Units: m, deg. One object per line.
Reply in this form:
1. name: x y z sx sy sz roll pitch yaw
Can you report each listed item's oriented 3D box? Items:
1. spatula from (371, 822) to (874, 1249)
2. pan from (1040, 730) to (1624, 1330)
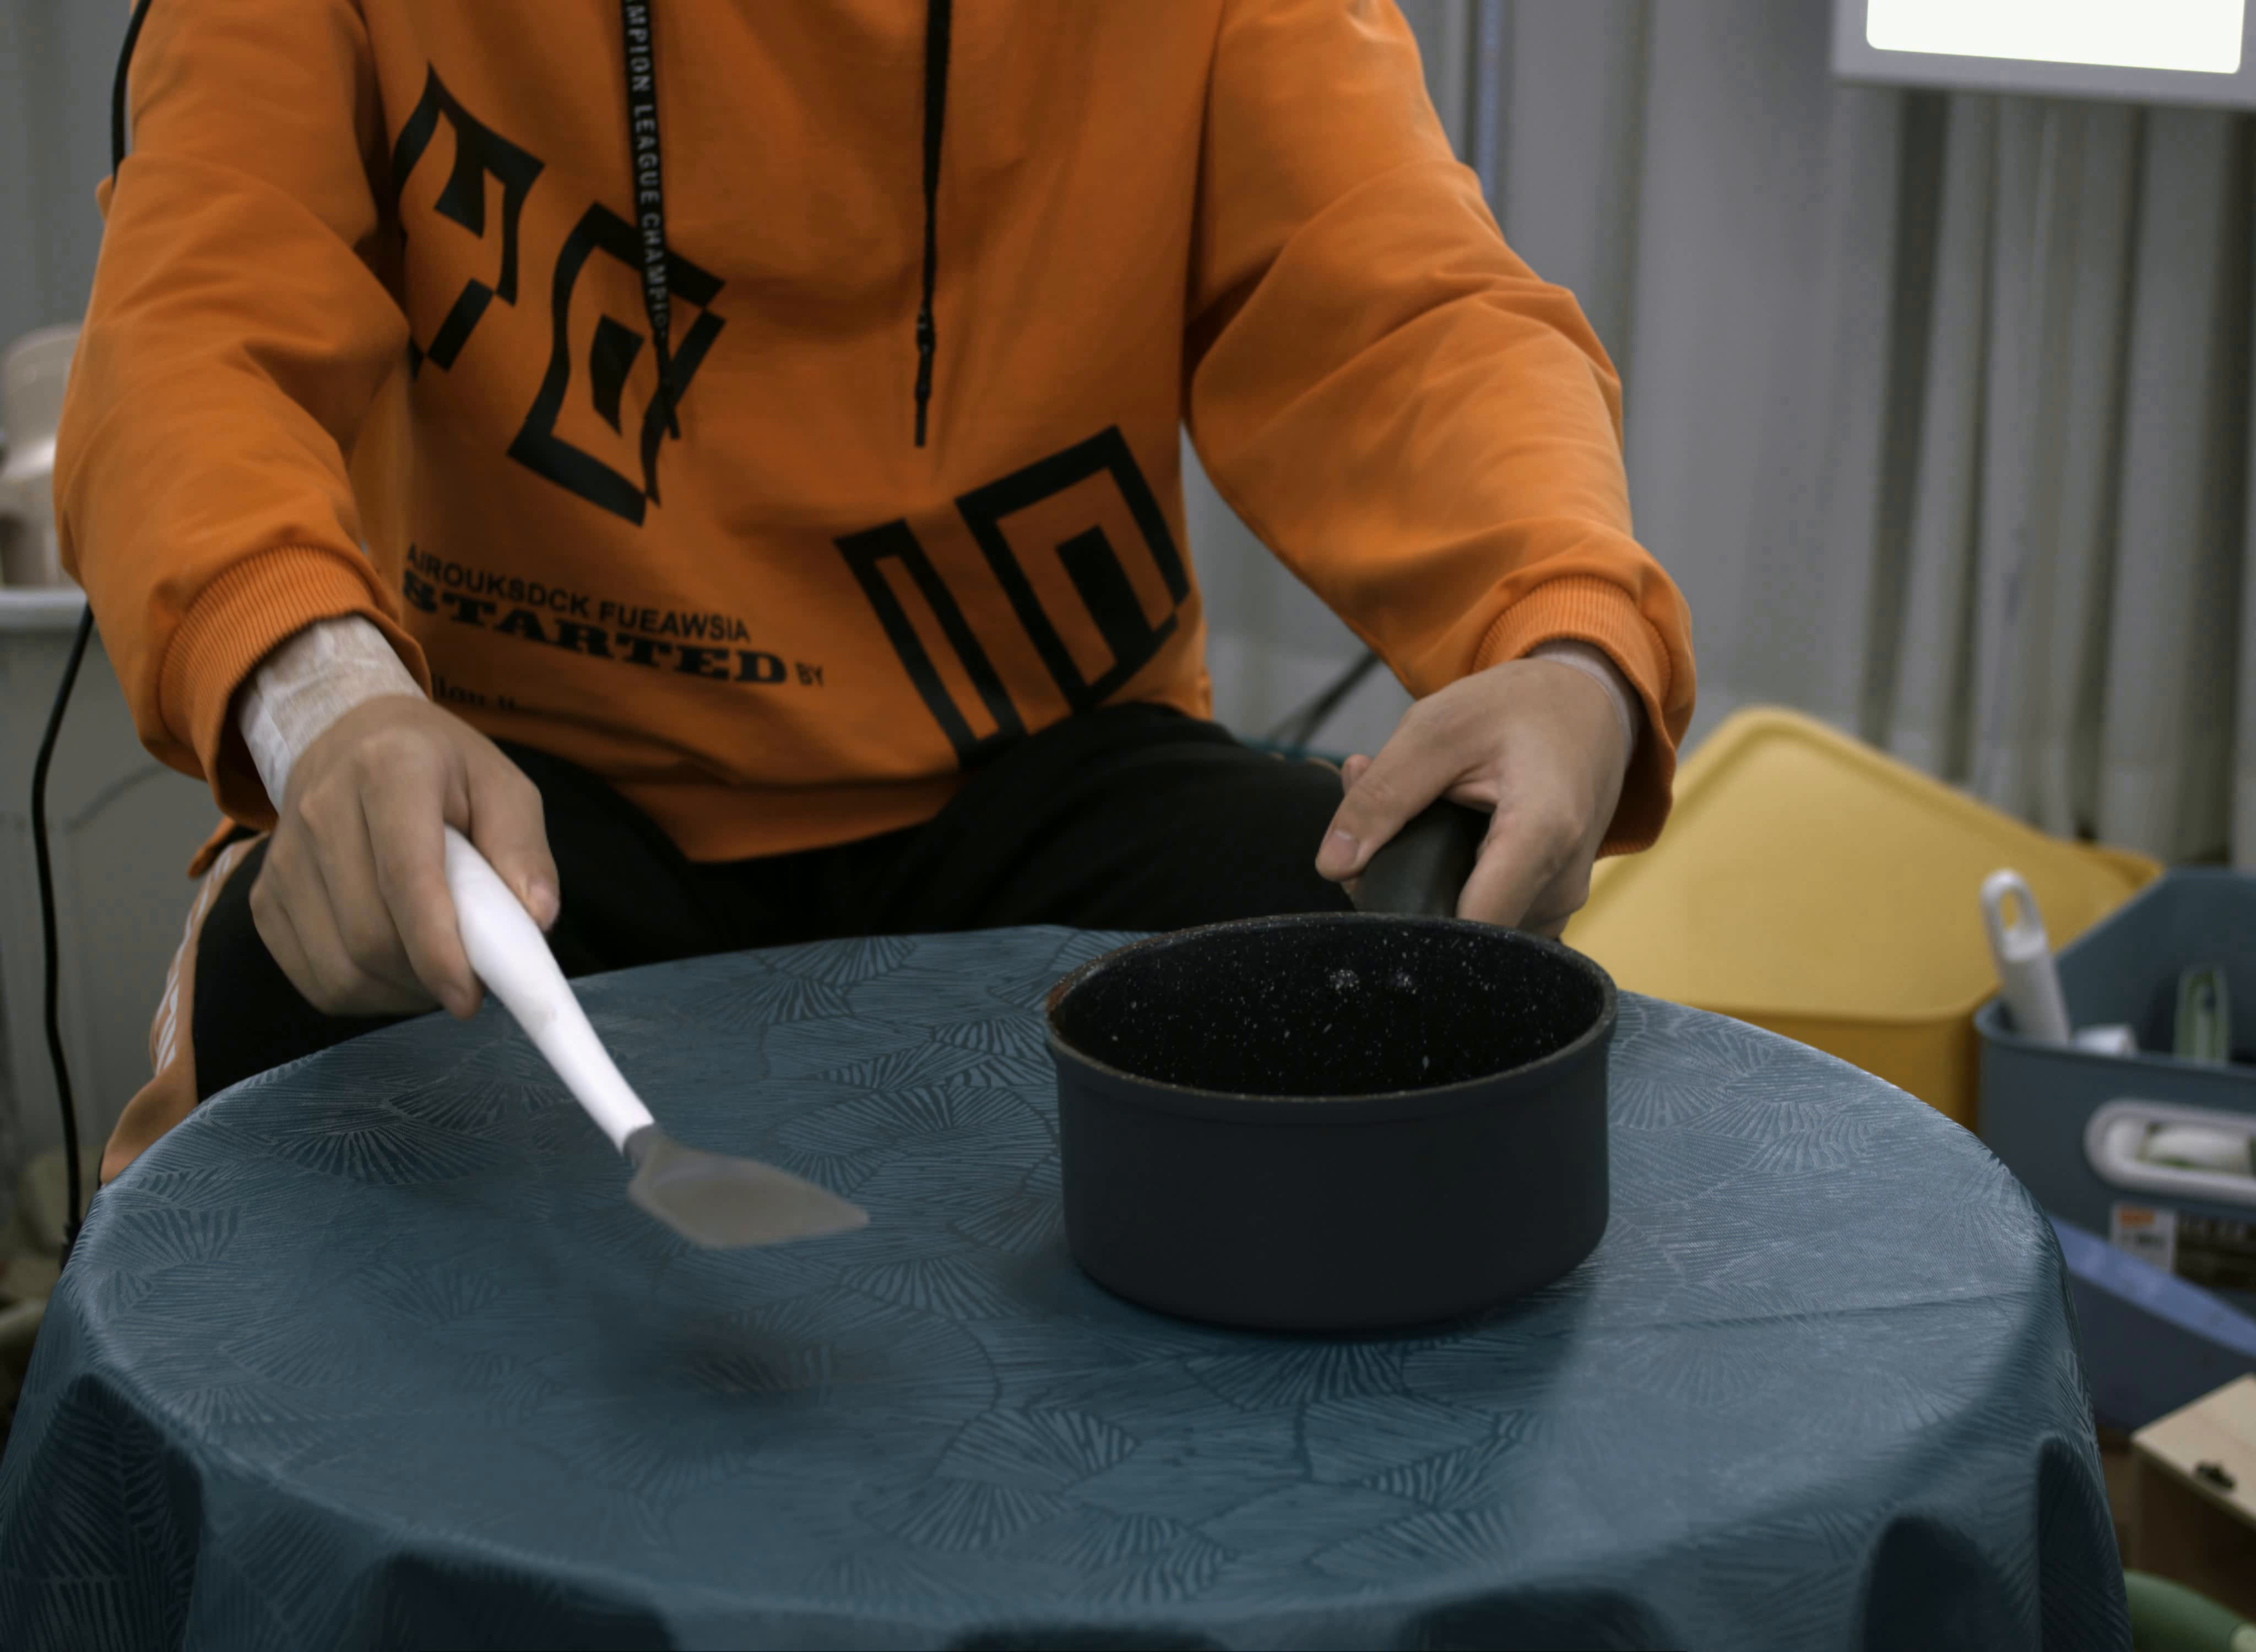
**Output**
1. spatula: -0.157 0.066 1.544 0.059 0.032 0.283 -3 23 -29
2. pan: 0.080 0.059 1.634 0.170 0.087 0.328 3 19 14
